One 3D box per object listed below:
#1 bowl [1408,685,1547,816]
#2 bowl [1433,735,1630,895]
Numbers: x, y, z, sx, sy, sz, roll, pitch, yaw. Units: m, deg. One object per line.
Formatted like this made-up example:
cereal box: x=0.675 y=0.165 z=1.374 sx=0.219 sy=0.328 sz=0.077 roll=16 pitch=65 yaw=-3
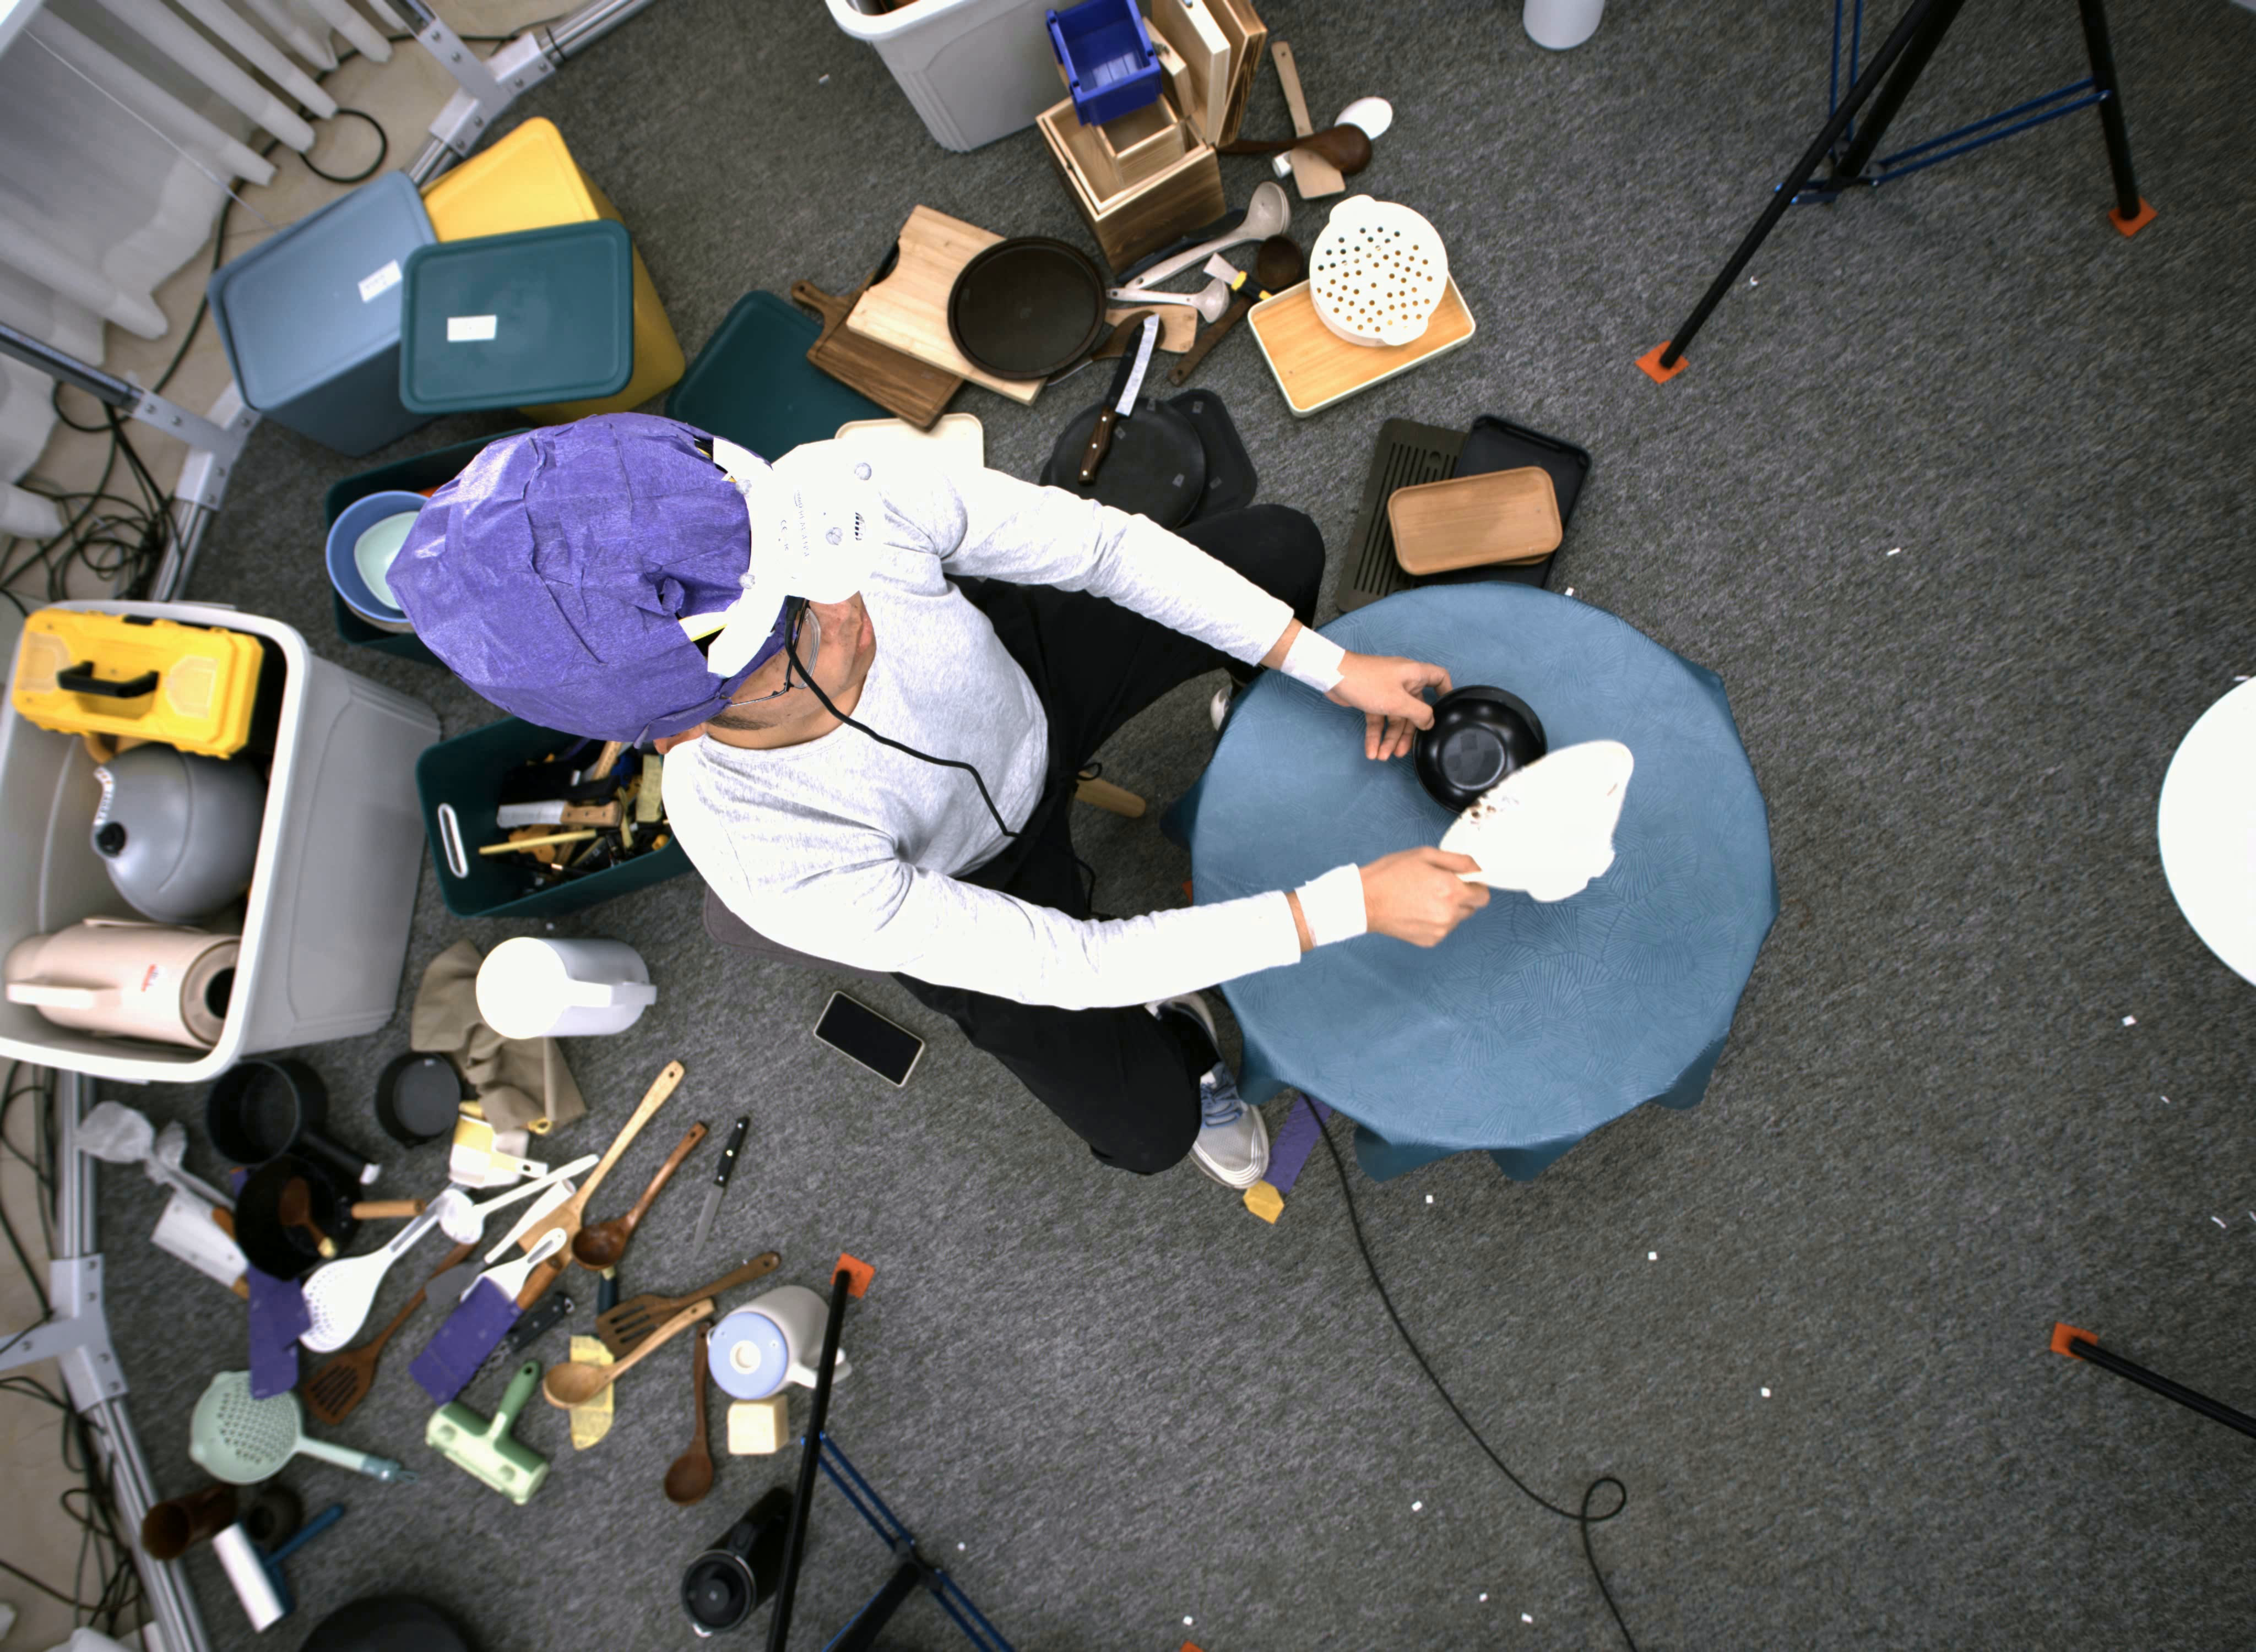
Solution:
bowl: x=0.361 y=-0.076 z=1.427 sx=0.140 sy=0.050 sz=0.139 roll=-1 pitch=86 yaw=9
bowl: x=0.390 y=0.004 z=1.271 sx=0.205 sy=0.202 sz=0.078 roll=-37 pitch=102 yaw=5
